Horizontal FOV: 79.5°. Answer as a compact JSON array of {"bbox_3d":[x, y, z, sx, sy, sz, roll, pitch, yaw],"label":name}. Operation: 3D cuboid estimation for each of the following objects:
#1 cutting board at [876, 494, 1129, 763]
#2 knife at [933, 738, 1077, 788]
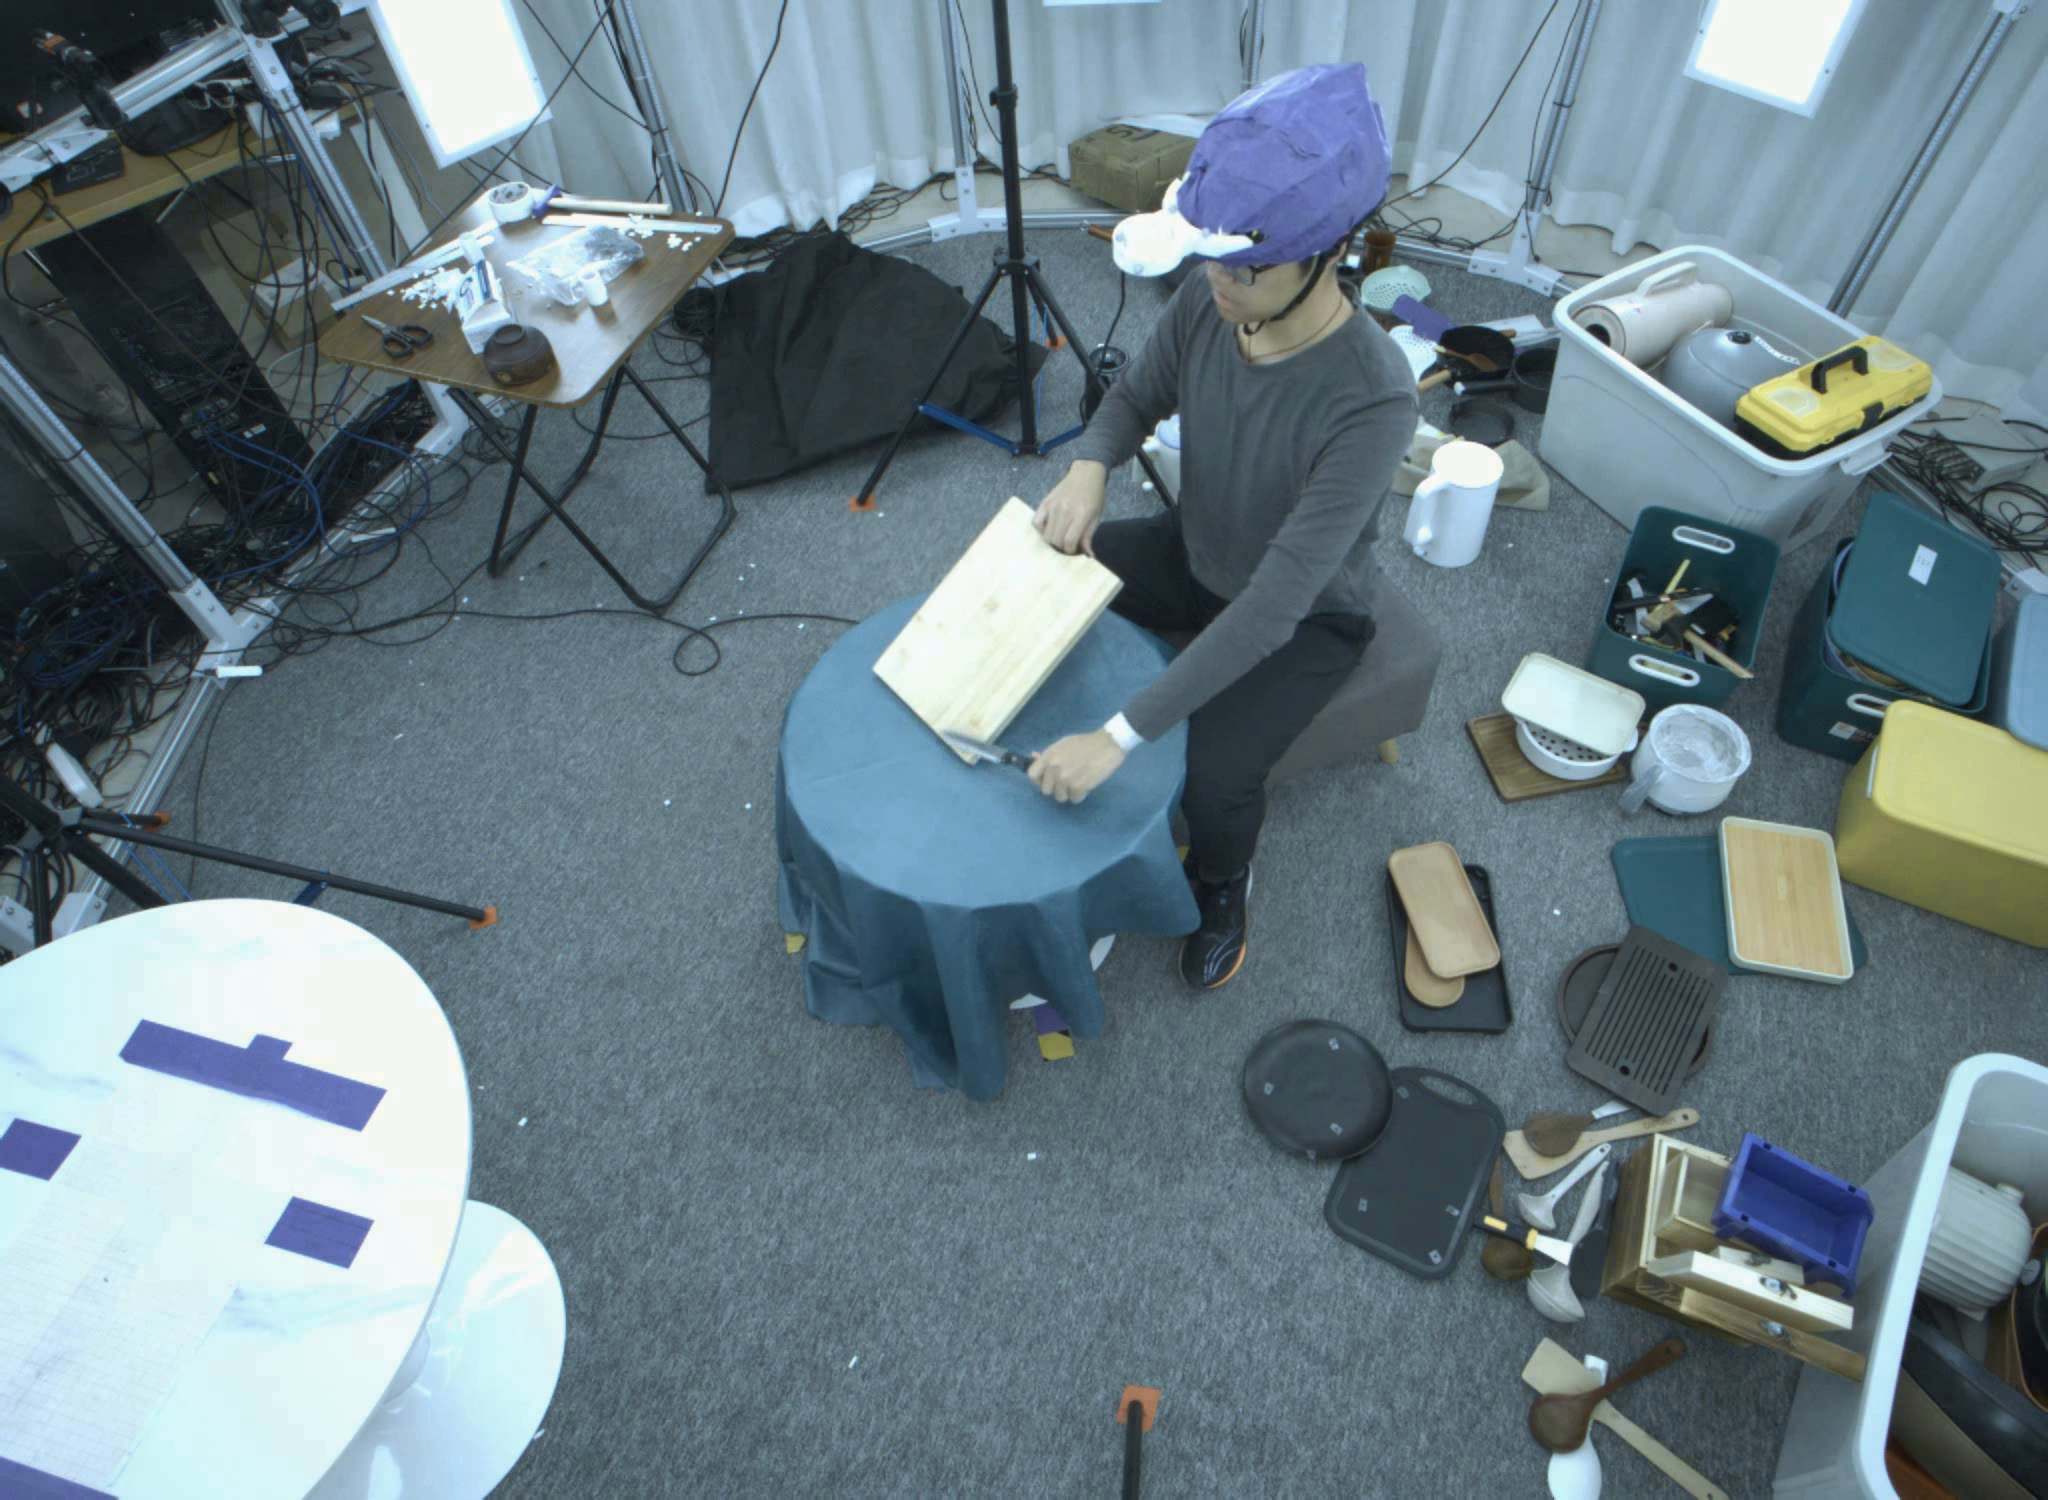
[{"bbox_3d":[-0.041,-0.184,1.811,0.246,0.024,0.348,42,96,27],"label":"cutting board"},{"bbox_3d":[-0.030,0.012,1.738,0.234,0.016,0.024,17,91,24],"label":"knife"}]
